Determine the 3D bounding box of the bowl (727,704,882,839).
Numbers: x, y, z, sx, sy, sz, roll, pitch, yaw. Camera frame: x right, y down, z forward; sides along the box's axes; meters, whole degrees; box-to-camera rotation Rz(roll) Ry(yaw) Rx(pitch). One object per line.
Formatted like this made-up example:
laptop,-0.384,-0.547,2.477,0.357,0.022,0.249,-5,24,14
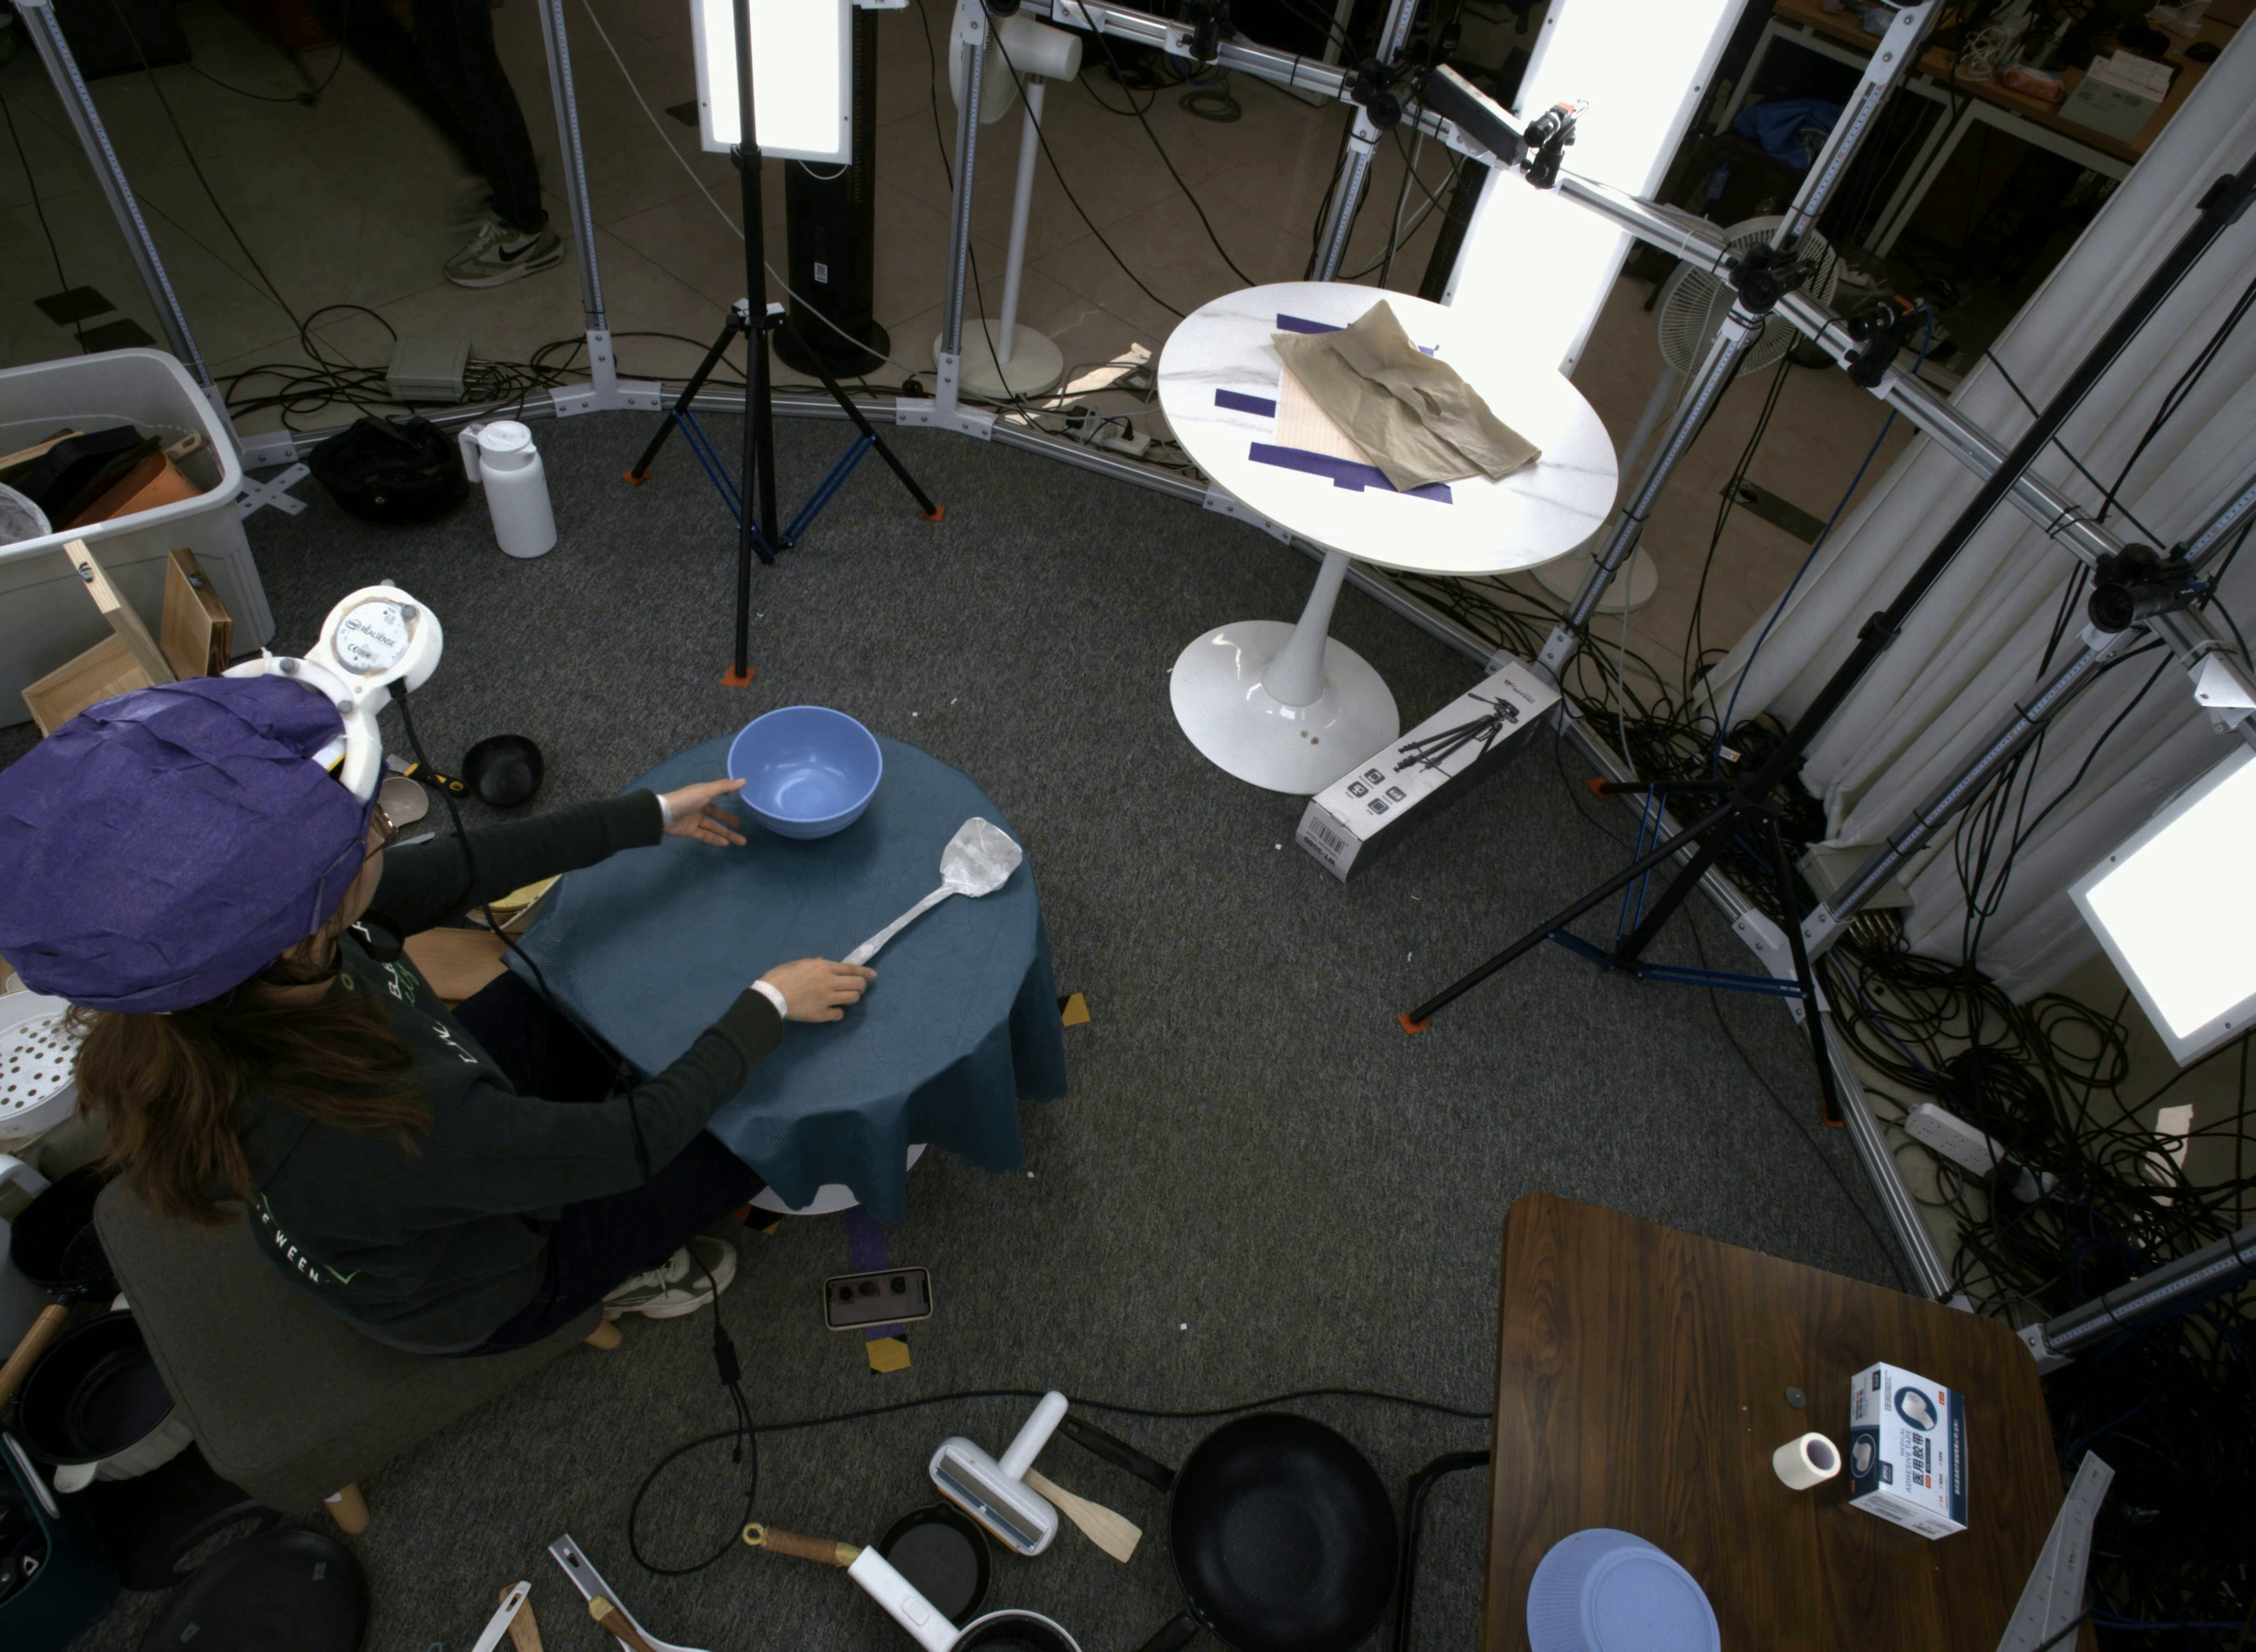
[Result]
bowl,-0.425,-0.057,1.710,0.196,0.097,0.193,8,51,-9

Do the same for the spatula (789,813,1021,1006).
spatula,-0.285,0.112,1.657,0.097,0.045,0.365,40,54,14
